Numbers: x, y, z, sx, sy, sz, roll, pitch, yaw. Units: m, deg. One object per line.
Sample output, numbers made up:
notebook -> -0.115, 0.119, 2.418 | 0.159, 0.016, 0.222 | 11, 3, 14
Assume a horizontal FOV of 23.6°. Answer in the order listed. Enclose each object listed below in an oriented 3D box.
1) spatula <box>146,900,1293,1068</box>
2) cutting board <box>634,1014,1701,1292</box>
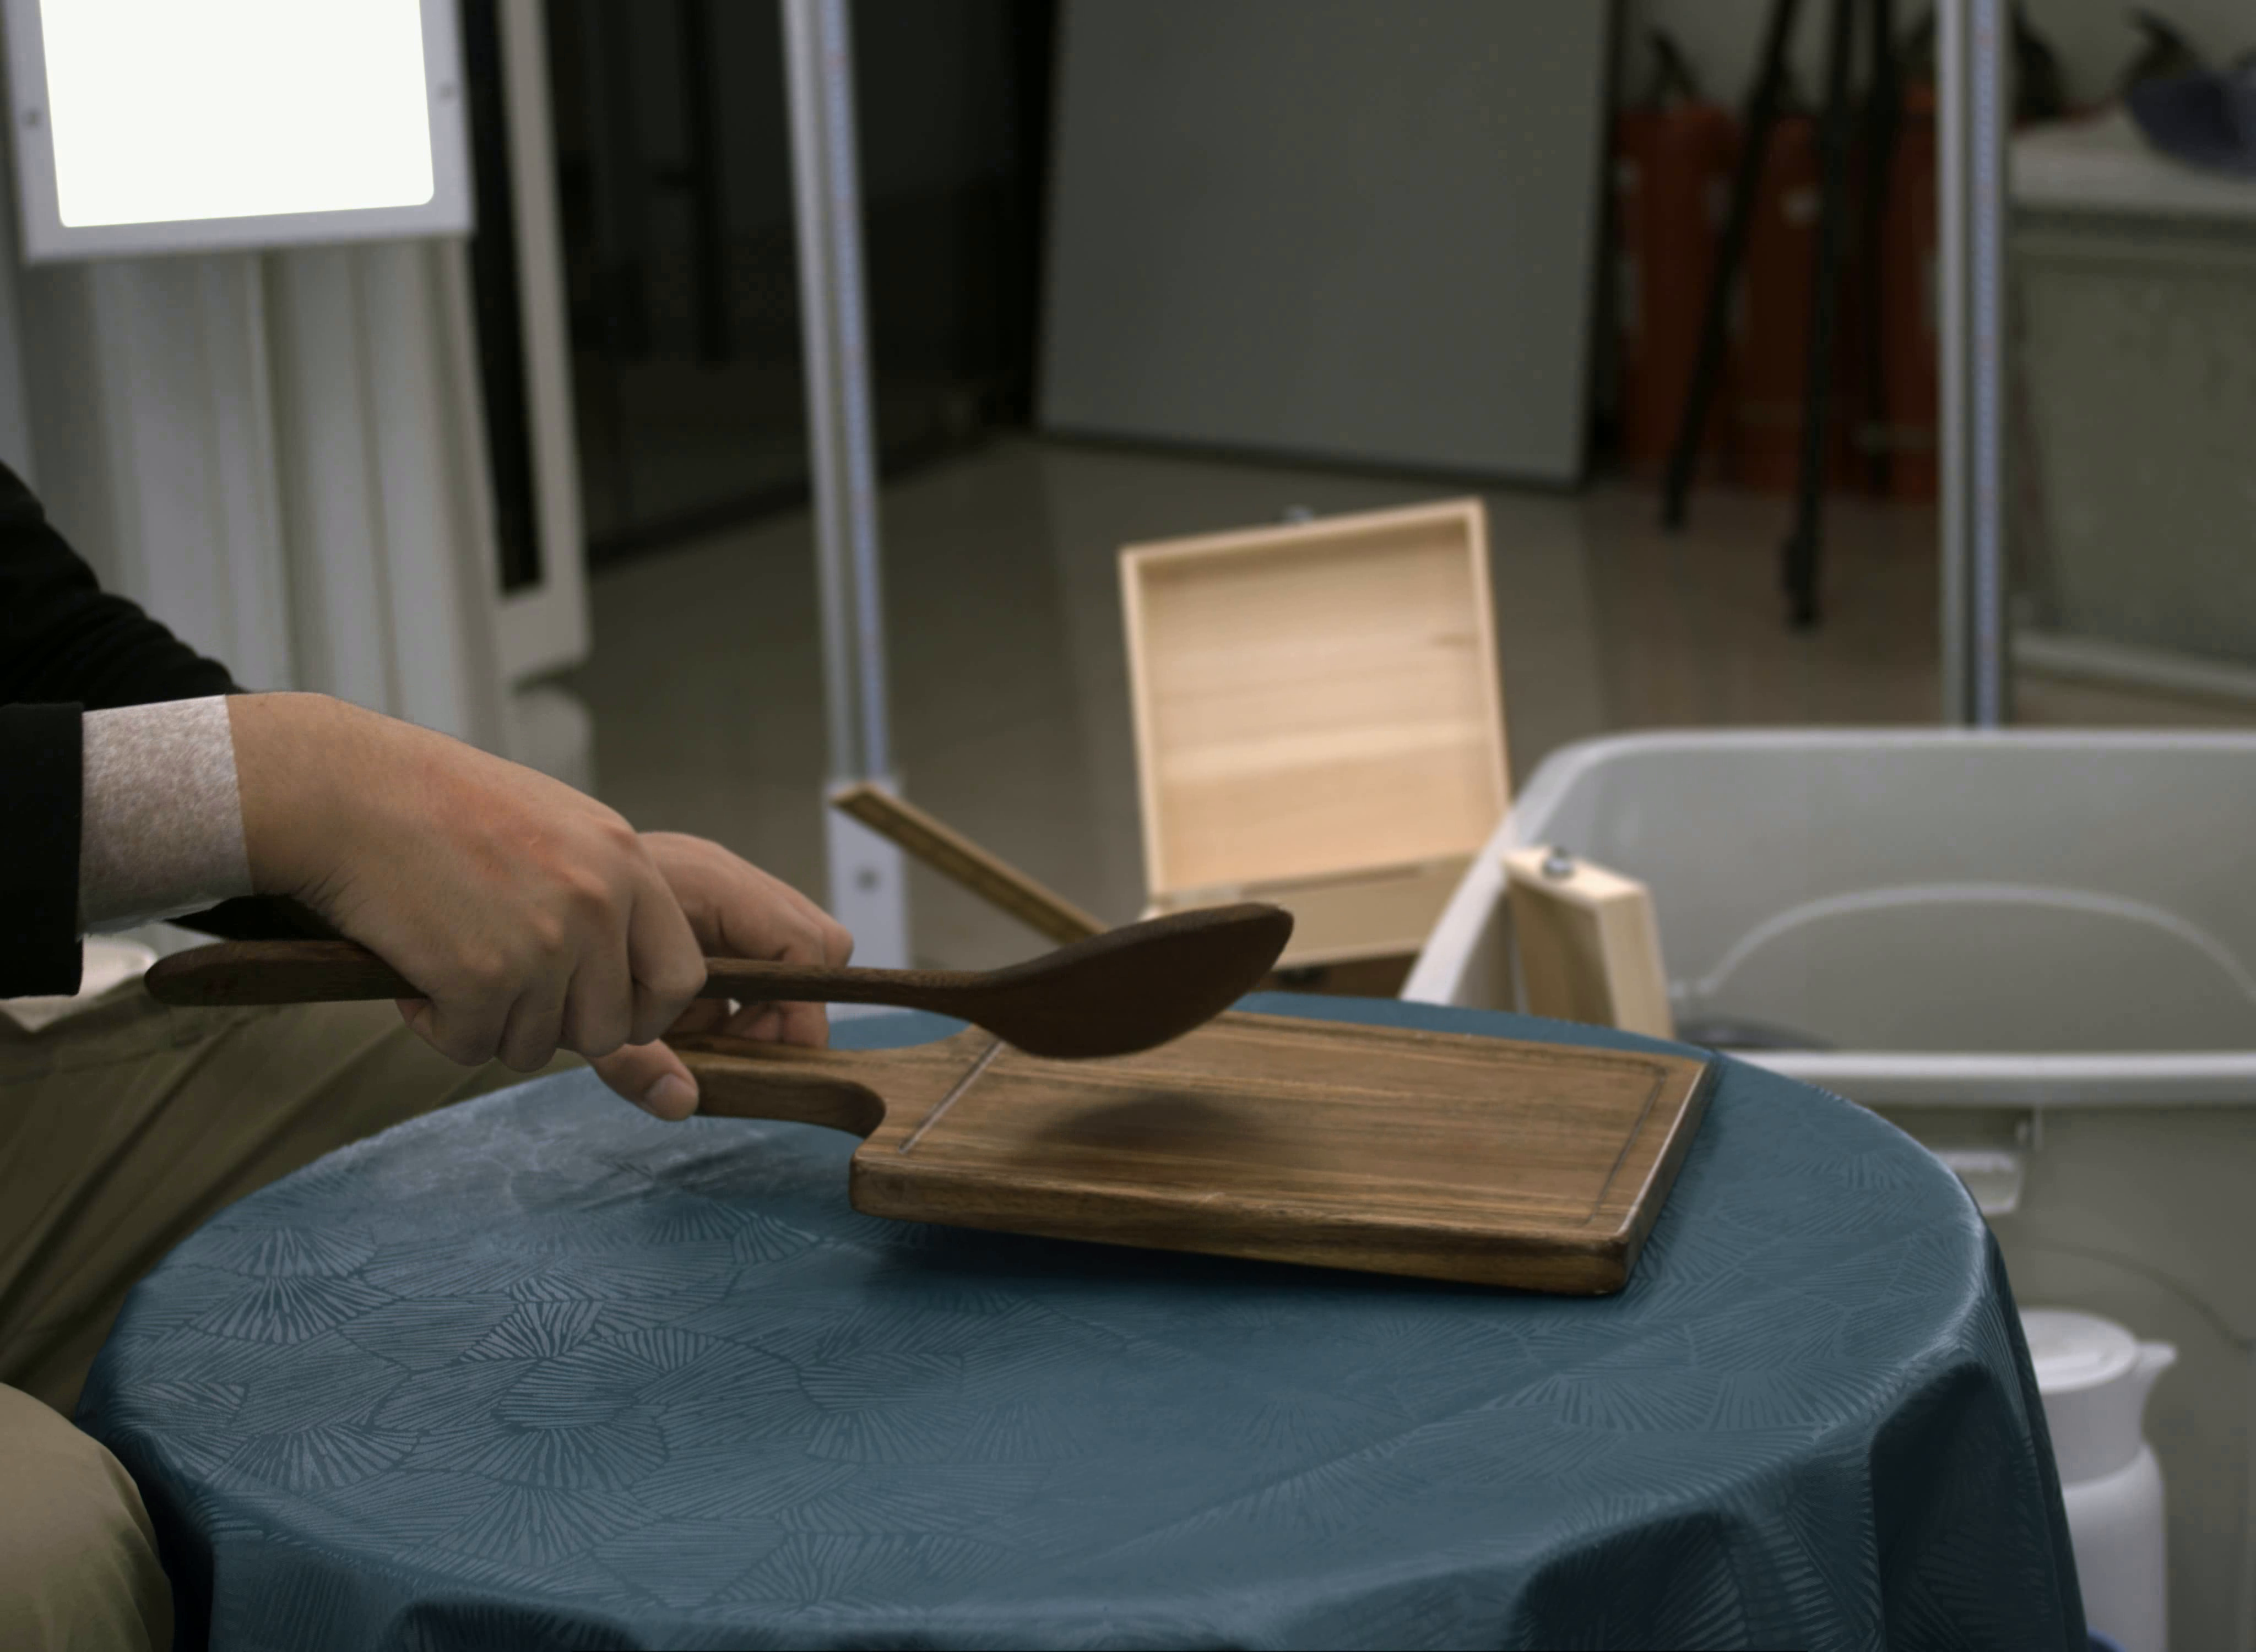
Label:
spatula -> -0.120, 0.045, 1.659 | 0.377, 0.016, 0.097 | 4, -34, -30
cutting board -> 0.006, 0.096, 1.765 | 0.350, 0.023, 0.199 | 5, 15, 14
